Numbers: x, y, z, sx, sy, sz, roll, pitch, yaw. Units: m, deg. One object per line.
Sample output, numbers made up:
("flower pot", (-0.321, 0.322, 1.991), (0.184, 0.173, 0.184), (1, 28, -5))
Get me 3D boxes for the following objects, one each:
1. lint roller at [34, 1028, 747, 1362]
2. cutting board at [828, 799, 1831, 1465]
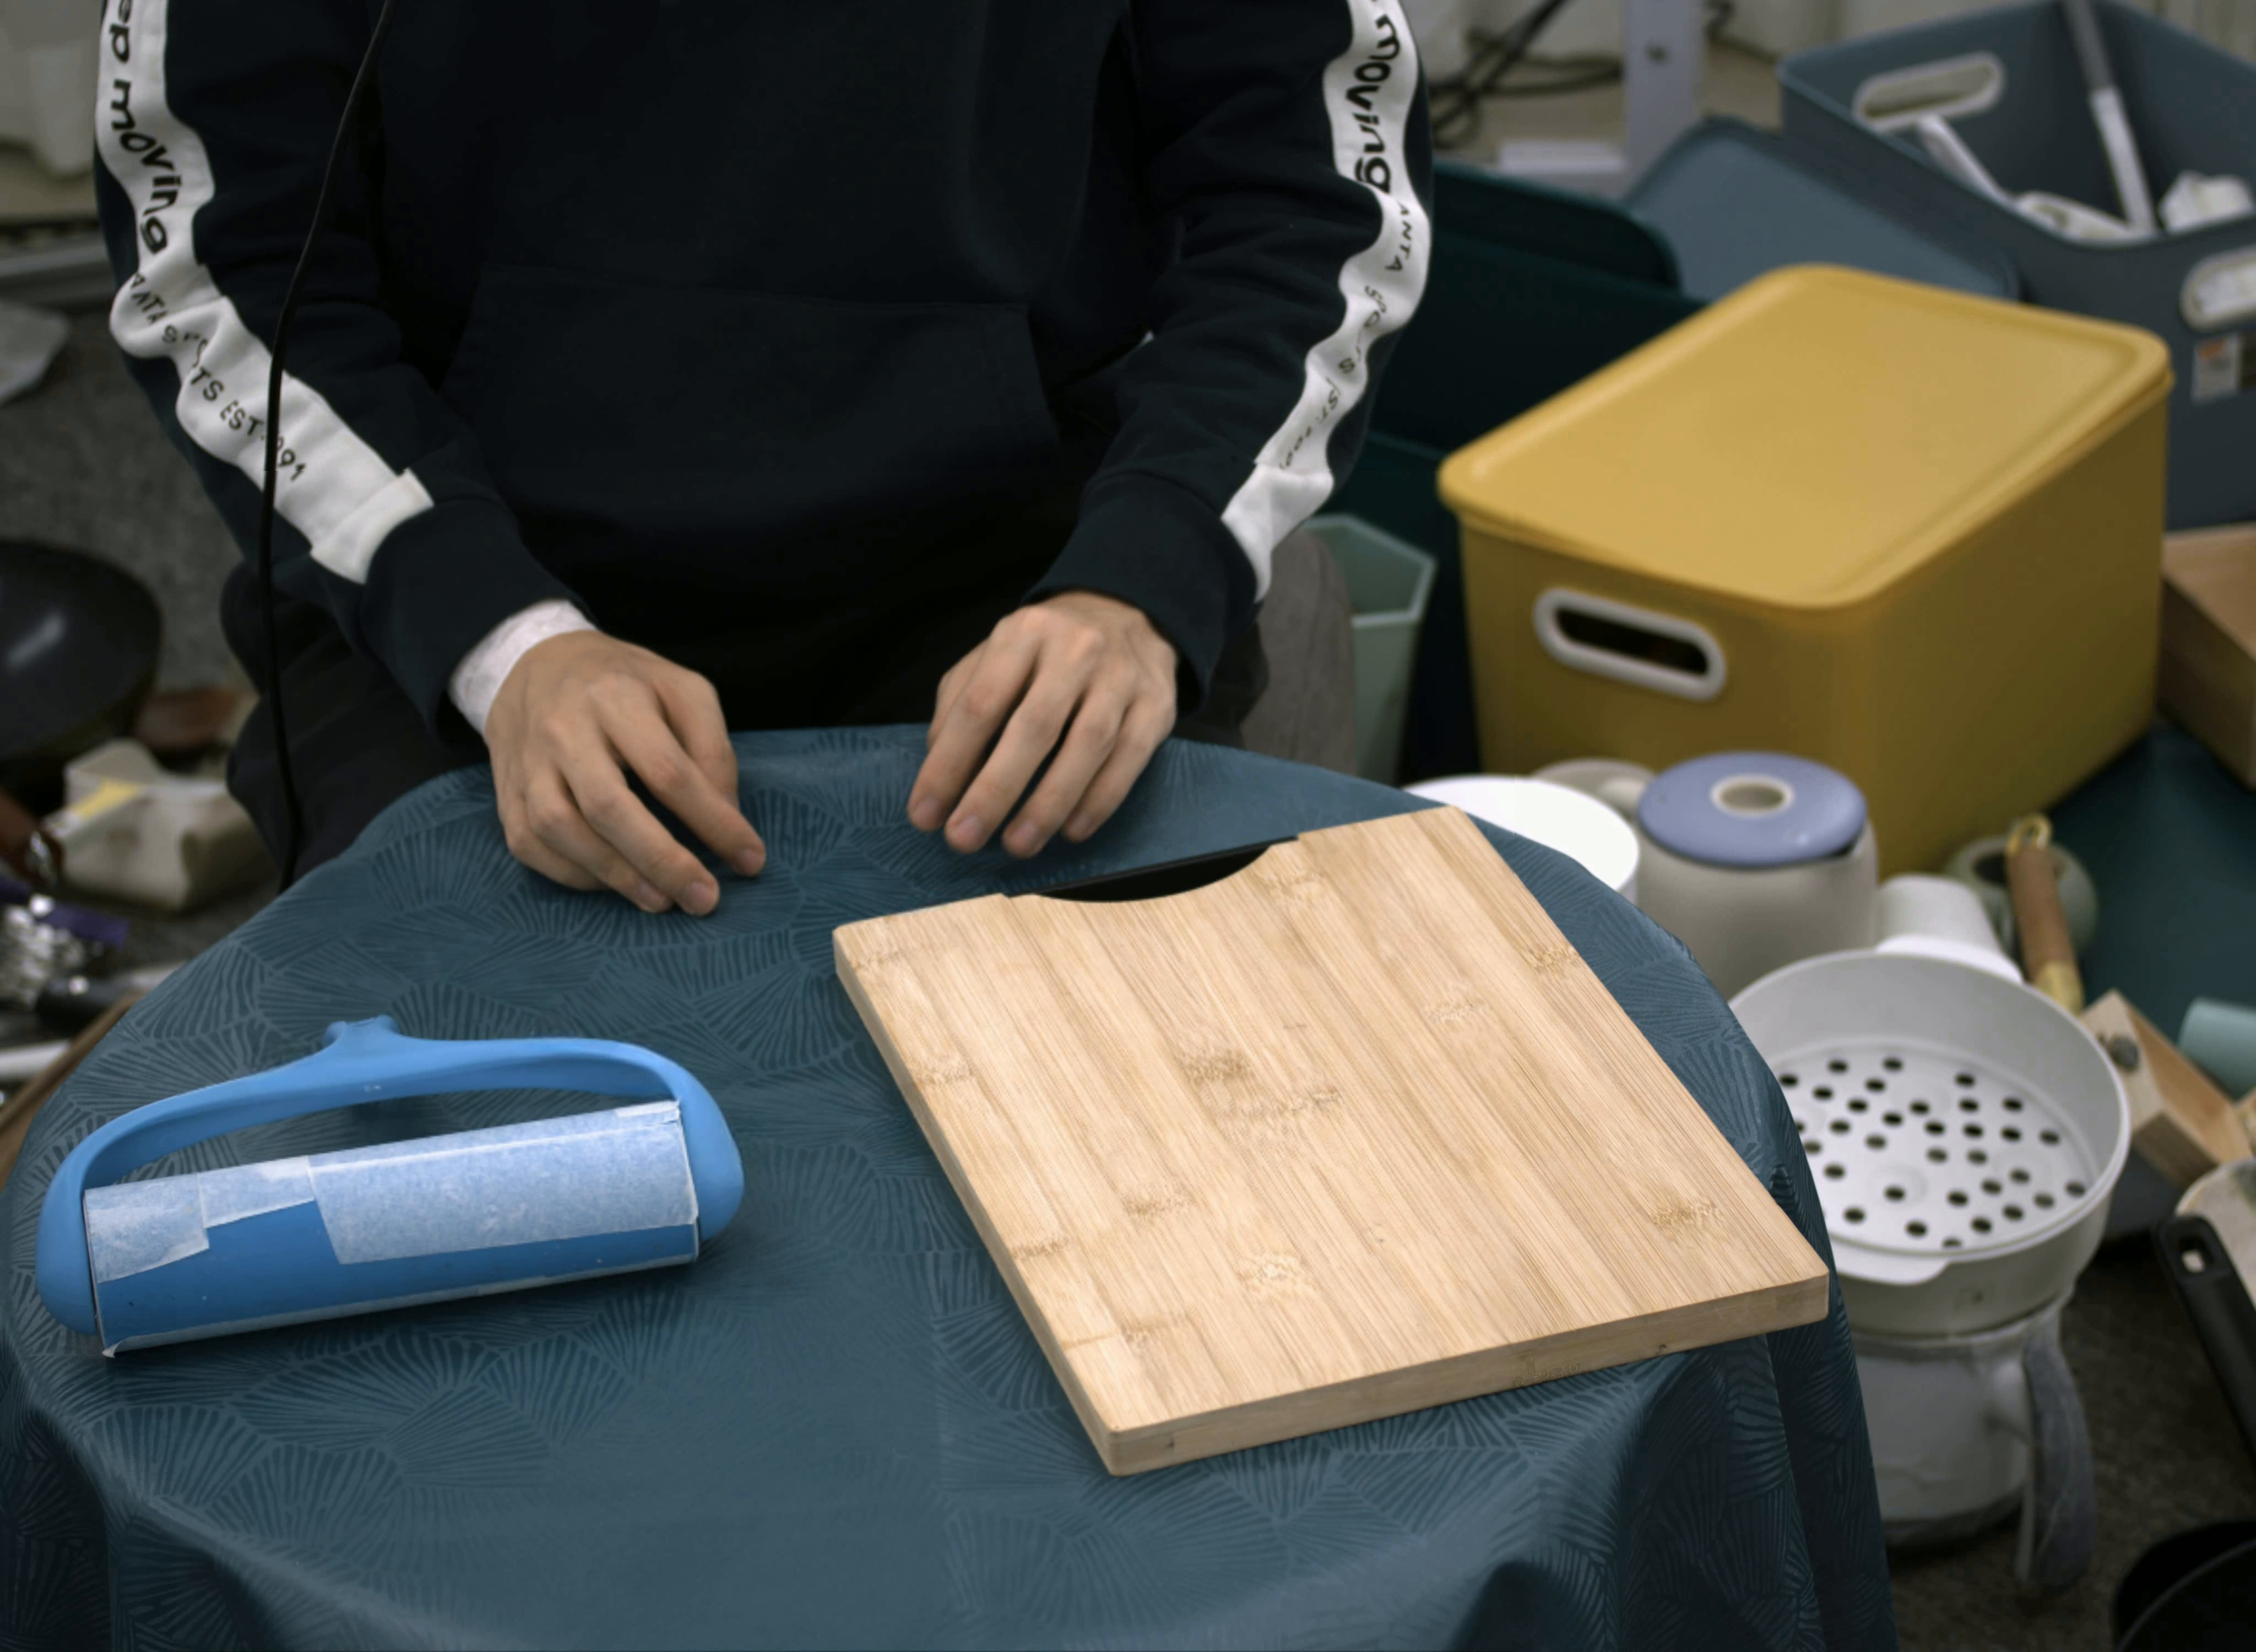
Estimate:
("lint roller", (-0.251, 0.103, 1.860), (0.229, 0.067, 0.182), (-11, 29, -12))
("cutting board", (0.057, 0.095, 1.888), (0.251, 0.023, 0.352), (-11, 29, -15))
